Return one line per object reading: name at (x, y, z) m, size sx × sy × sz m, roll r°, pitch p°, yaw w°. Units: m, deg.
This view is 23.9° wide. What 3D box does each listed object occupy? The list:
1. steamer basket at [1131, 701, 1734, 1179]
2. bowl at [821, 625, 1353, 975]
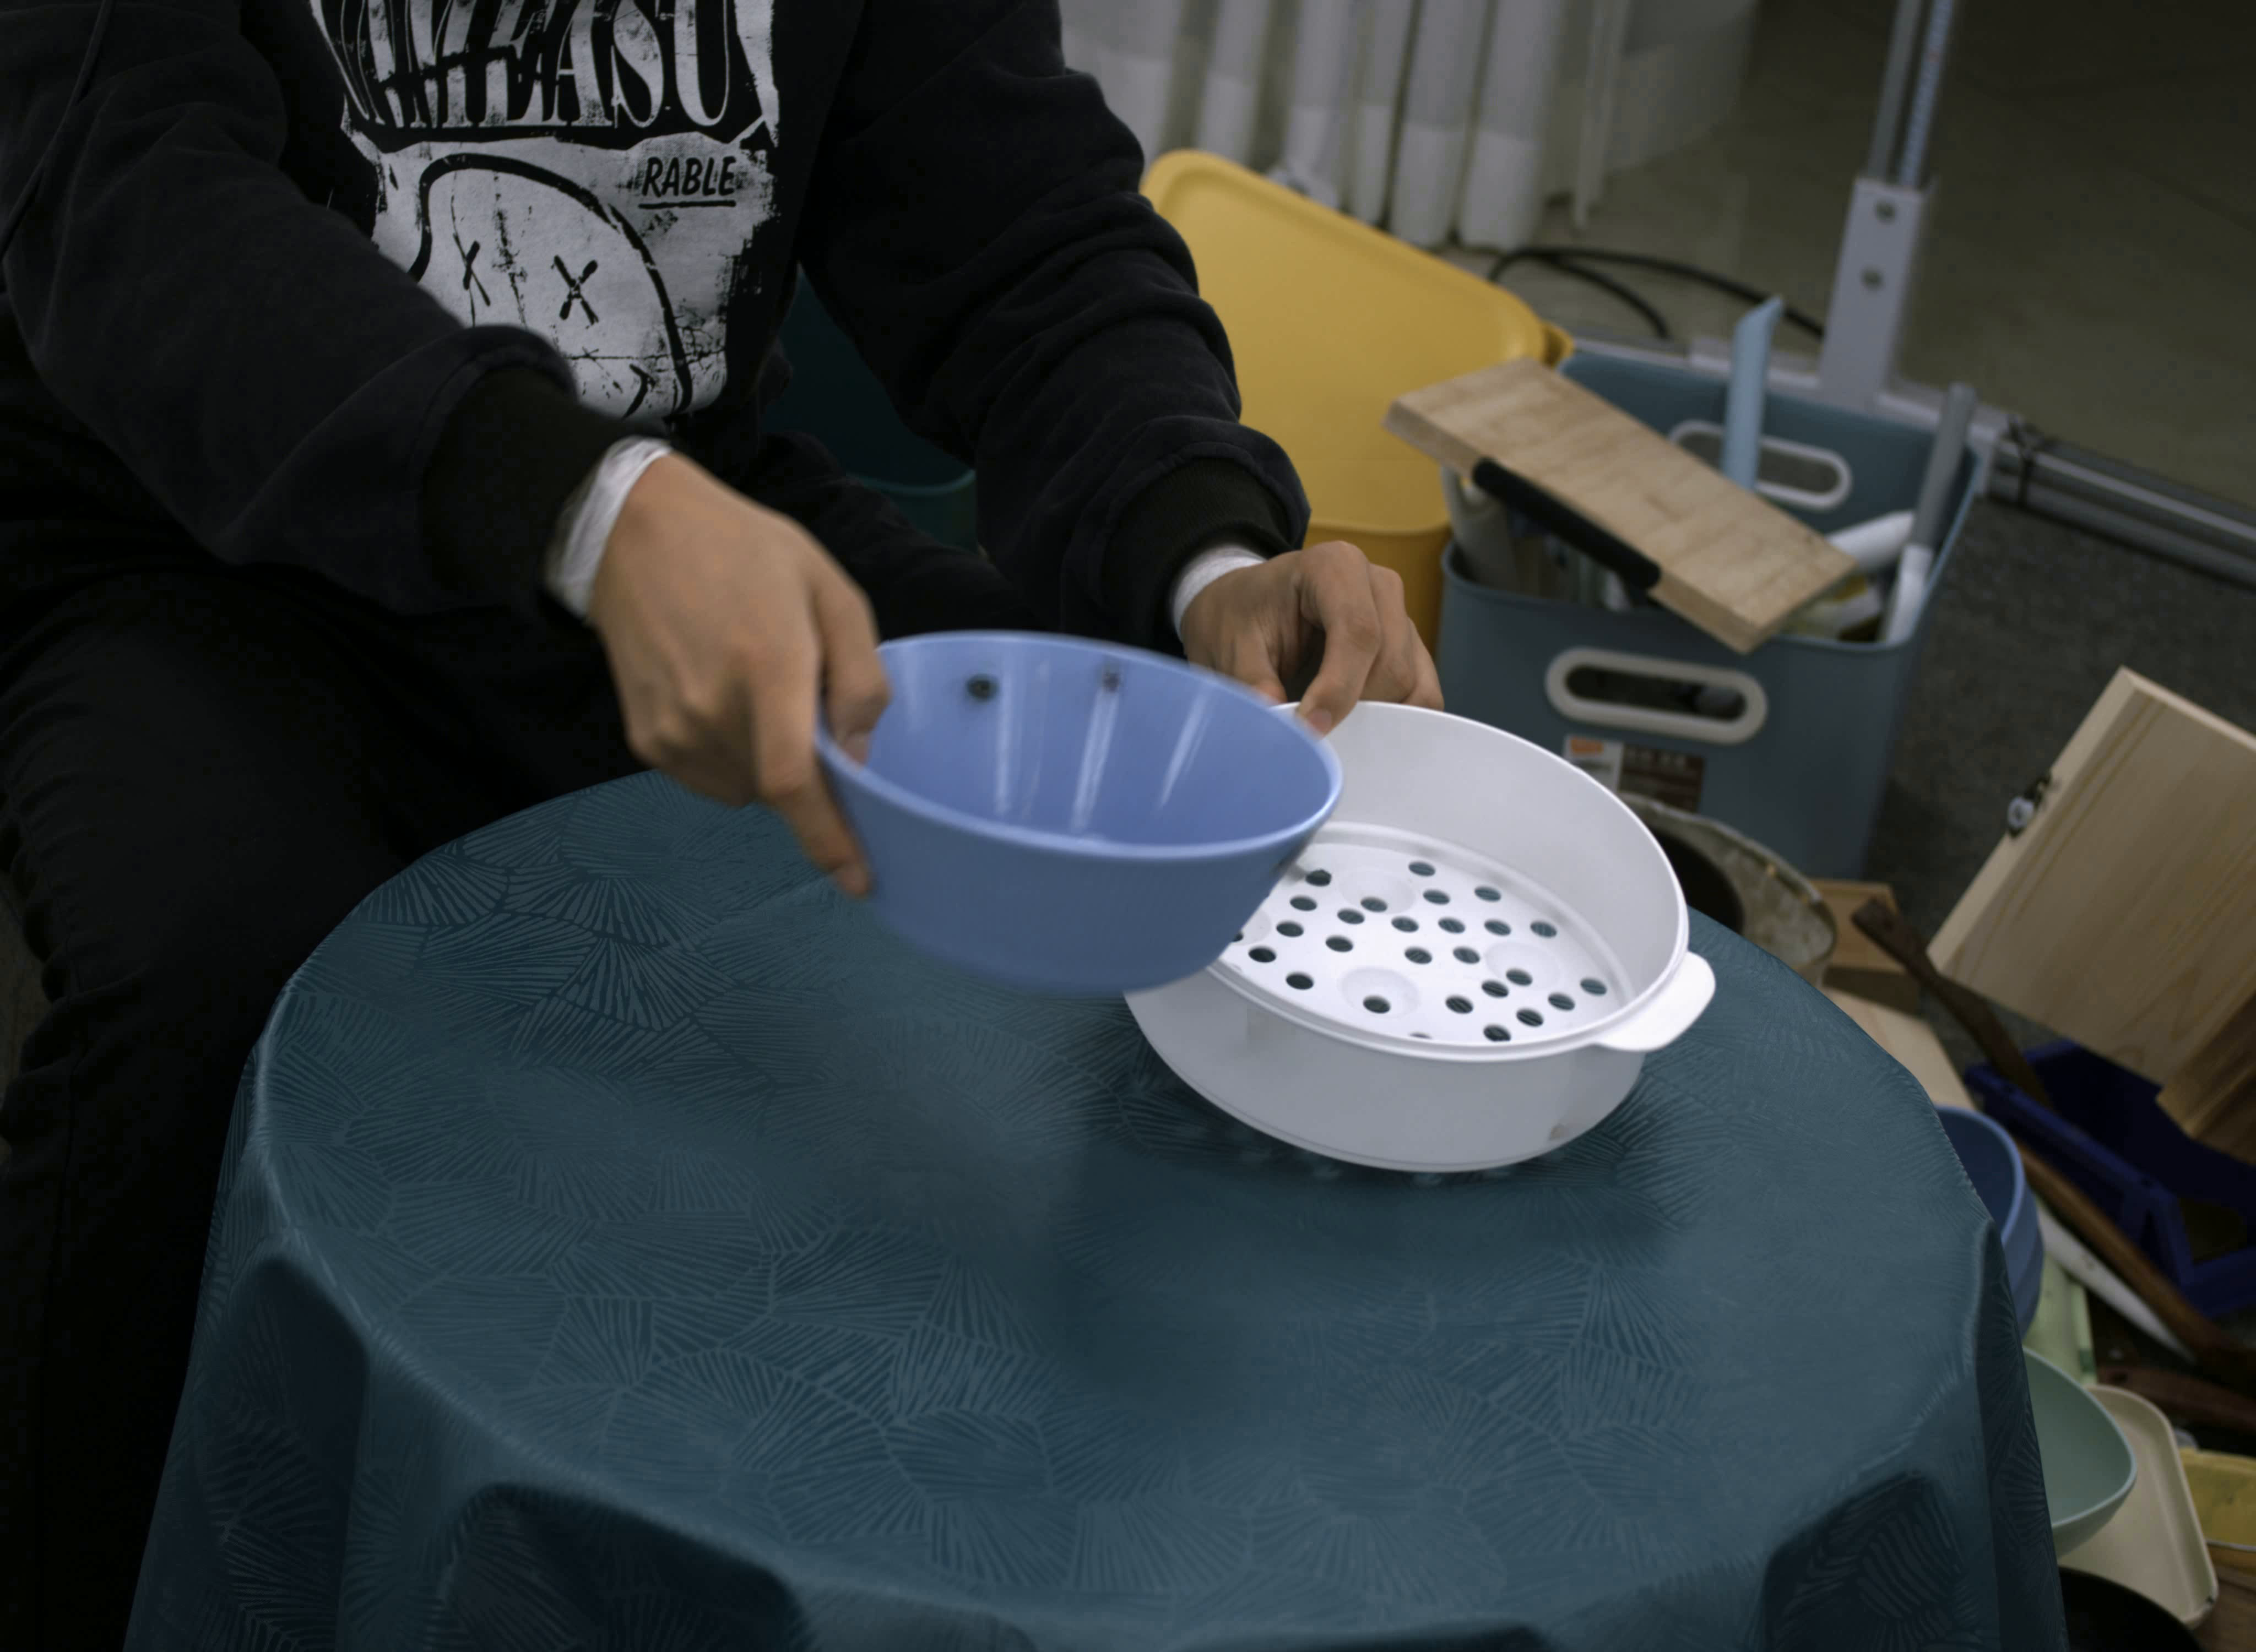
steamer basket at (0.099, 0.041, 1.875) m, size 0.231 × 0.069 × 0.202 m, roll 27°, pitch 39°, yaw 19°
bowl at (-0.018, -0.004, 1.738) m, size 0.175 × 0.070 × 0.177 m, roll 8°, pitch 22°, yaw -4°
